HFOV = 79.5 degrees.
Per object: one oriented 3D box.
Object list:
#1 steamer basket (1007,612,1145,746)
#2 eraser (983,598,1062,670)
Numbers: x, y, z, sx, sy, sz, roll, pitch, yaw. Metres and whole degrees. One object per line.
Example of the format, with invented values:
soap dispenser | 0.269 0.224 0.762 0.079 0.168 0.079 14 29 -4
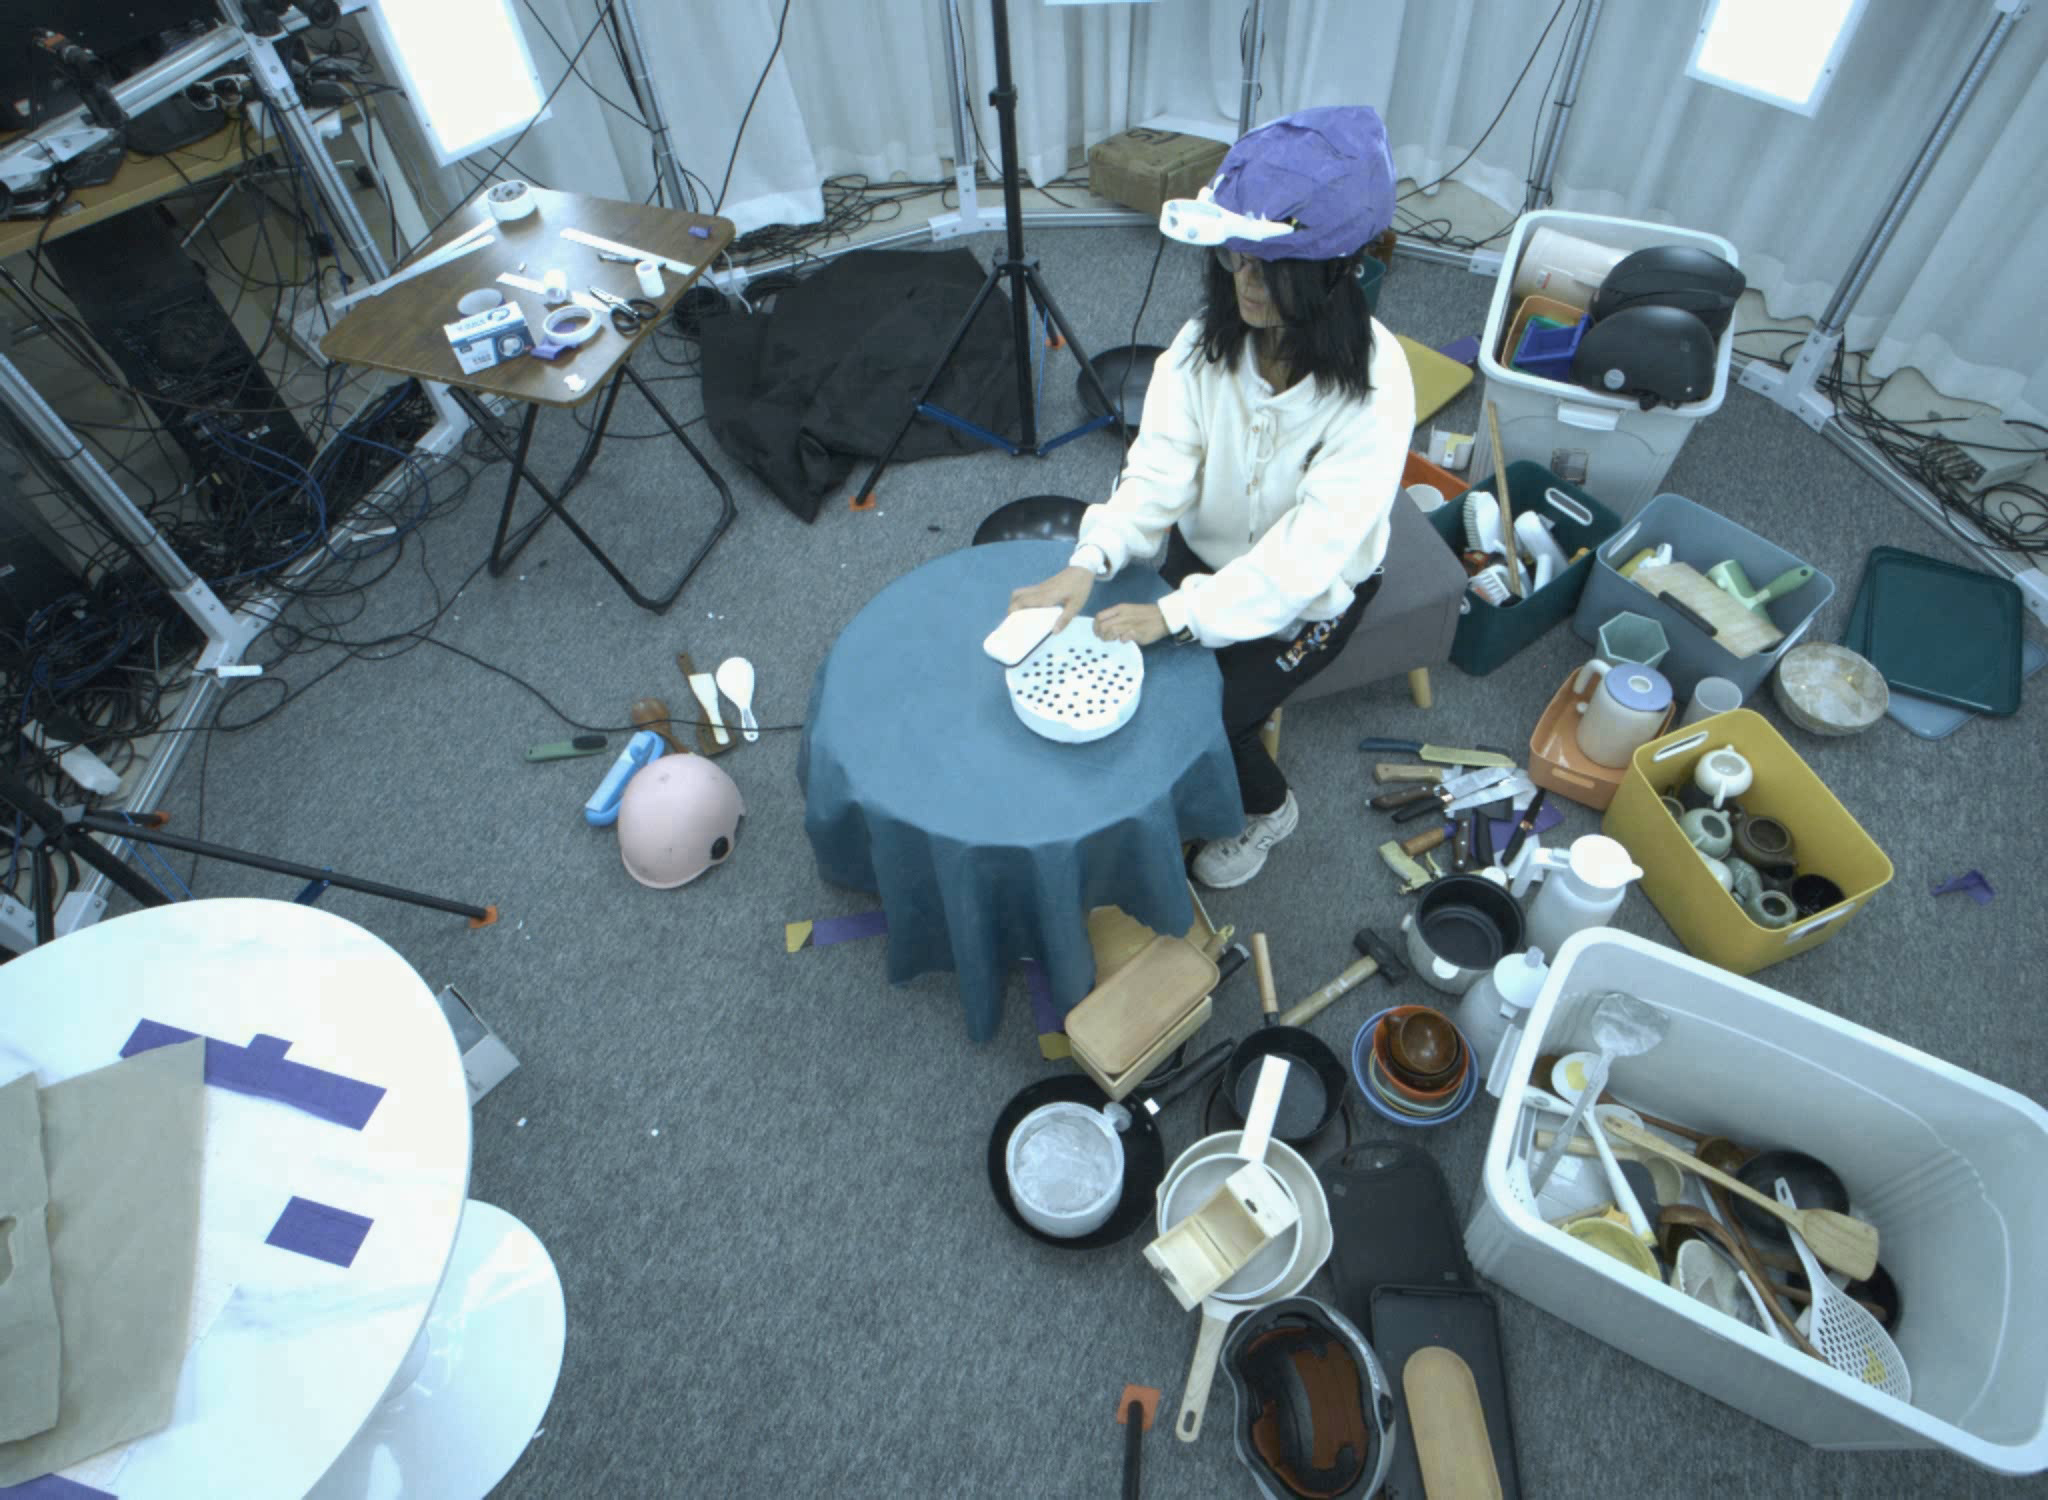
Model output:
steamer basket | 0.077 -0.100 1.814 0.203 0.070 0.227 -14 57 -8
eraser | -0.001 -0.173 1.808 0.062 0.035 0.132 28 59 29
